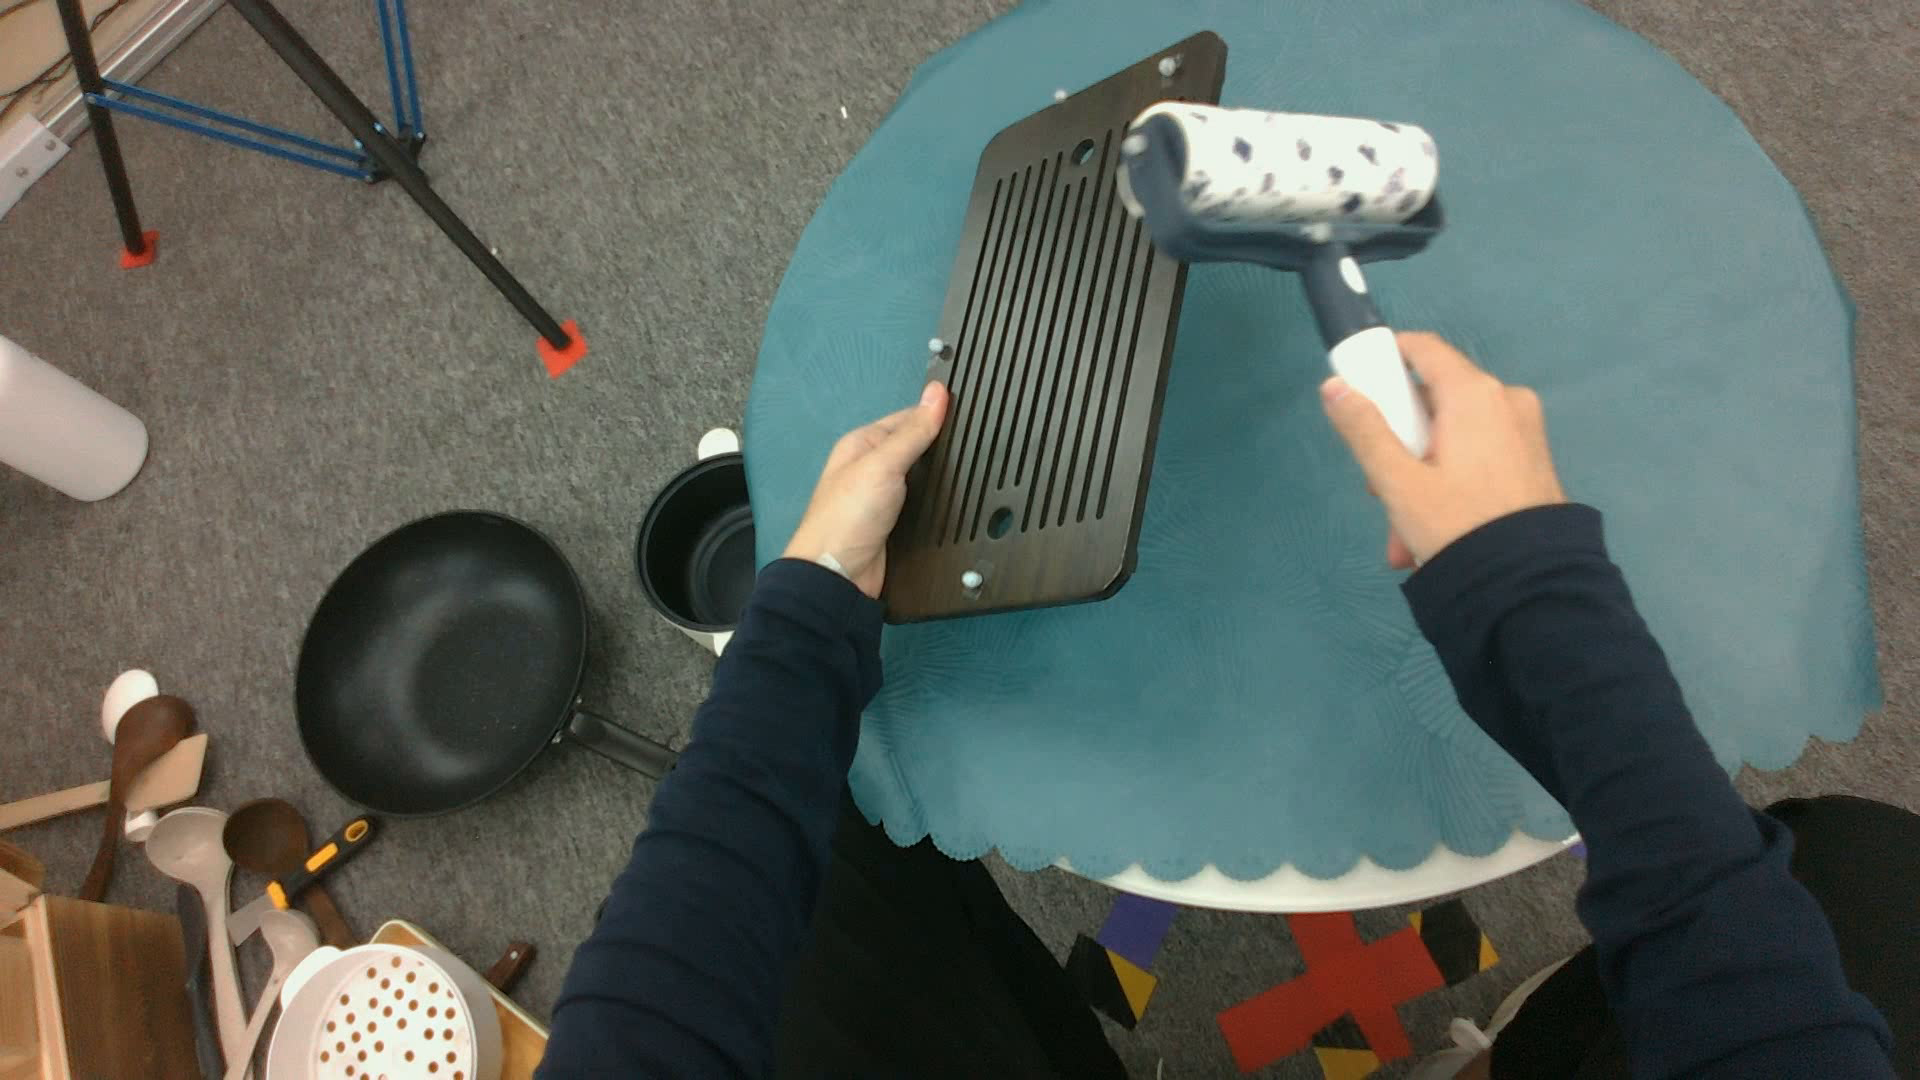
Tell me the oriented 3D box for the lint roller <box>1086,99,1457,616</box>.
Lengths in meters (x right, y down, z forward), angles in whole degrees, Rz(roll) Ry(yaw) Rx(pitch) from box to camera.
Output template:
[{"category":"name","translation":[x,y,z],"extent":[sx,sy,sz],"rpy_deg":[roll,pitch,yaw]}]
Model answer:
[{"category":"lint roller","translation":[0.167,-0.086,0.613],"extent":[0.177,0.050,0.247],"rpy_deg":[-9,70,-37]}]

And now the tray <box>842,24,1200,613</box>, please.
[{"category":"tray","translation":[0.032,-0.110,0.693],"extent":[0.169,0.018,0.307],"rpy_deg":[-9,61,45]}]
